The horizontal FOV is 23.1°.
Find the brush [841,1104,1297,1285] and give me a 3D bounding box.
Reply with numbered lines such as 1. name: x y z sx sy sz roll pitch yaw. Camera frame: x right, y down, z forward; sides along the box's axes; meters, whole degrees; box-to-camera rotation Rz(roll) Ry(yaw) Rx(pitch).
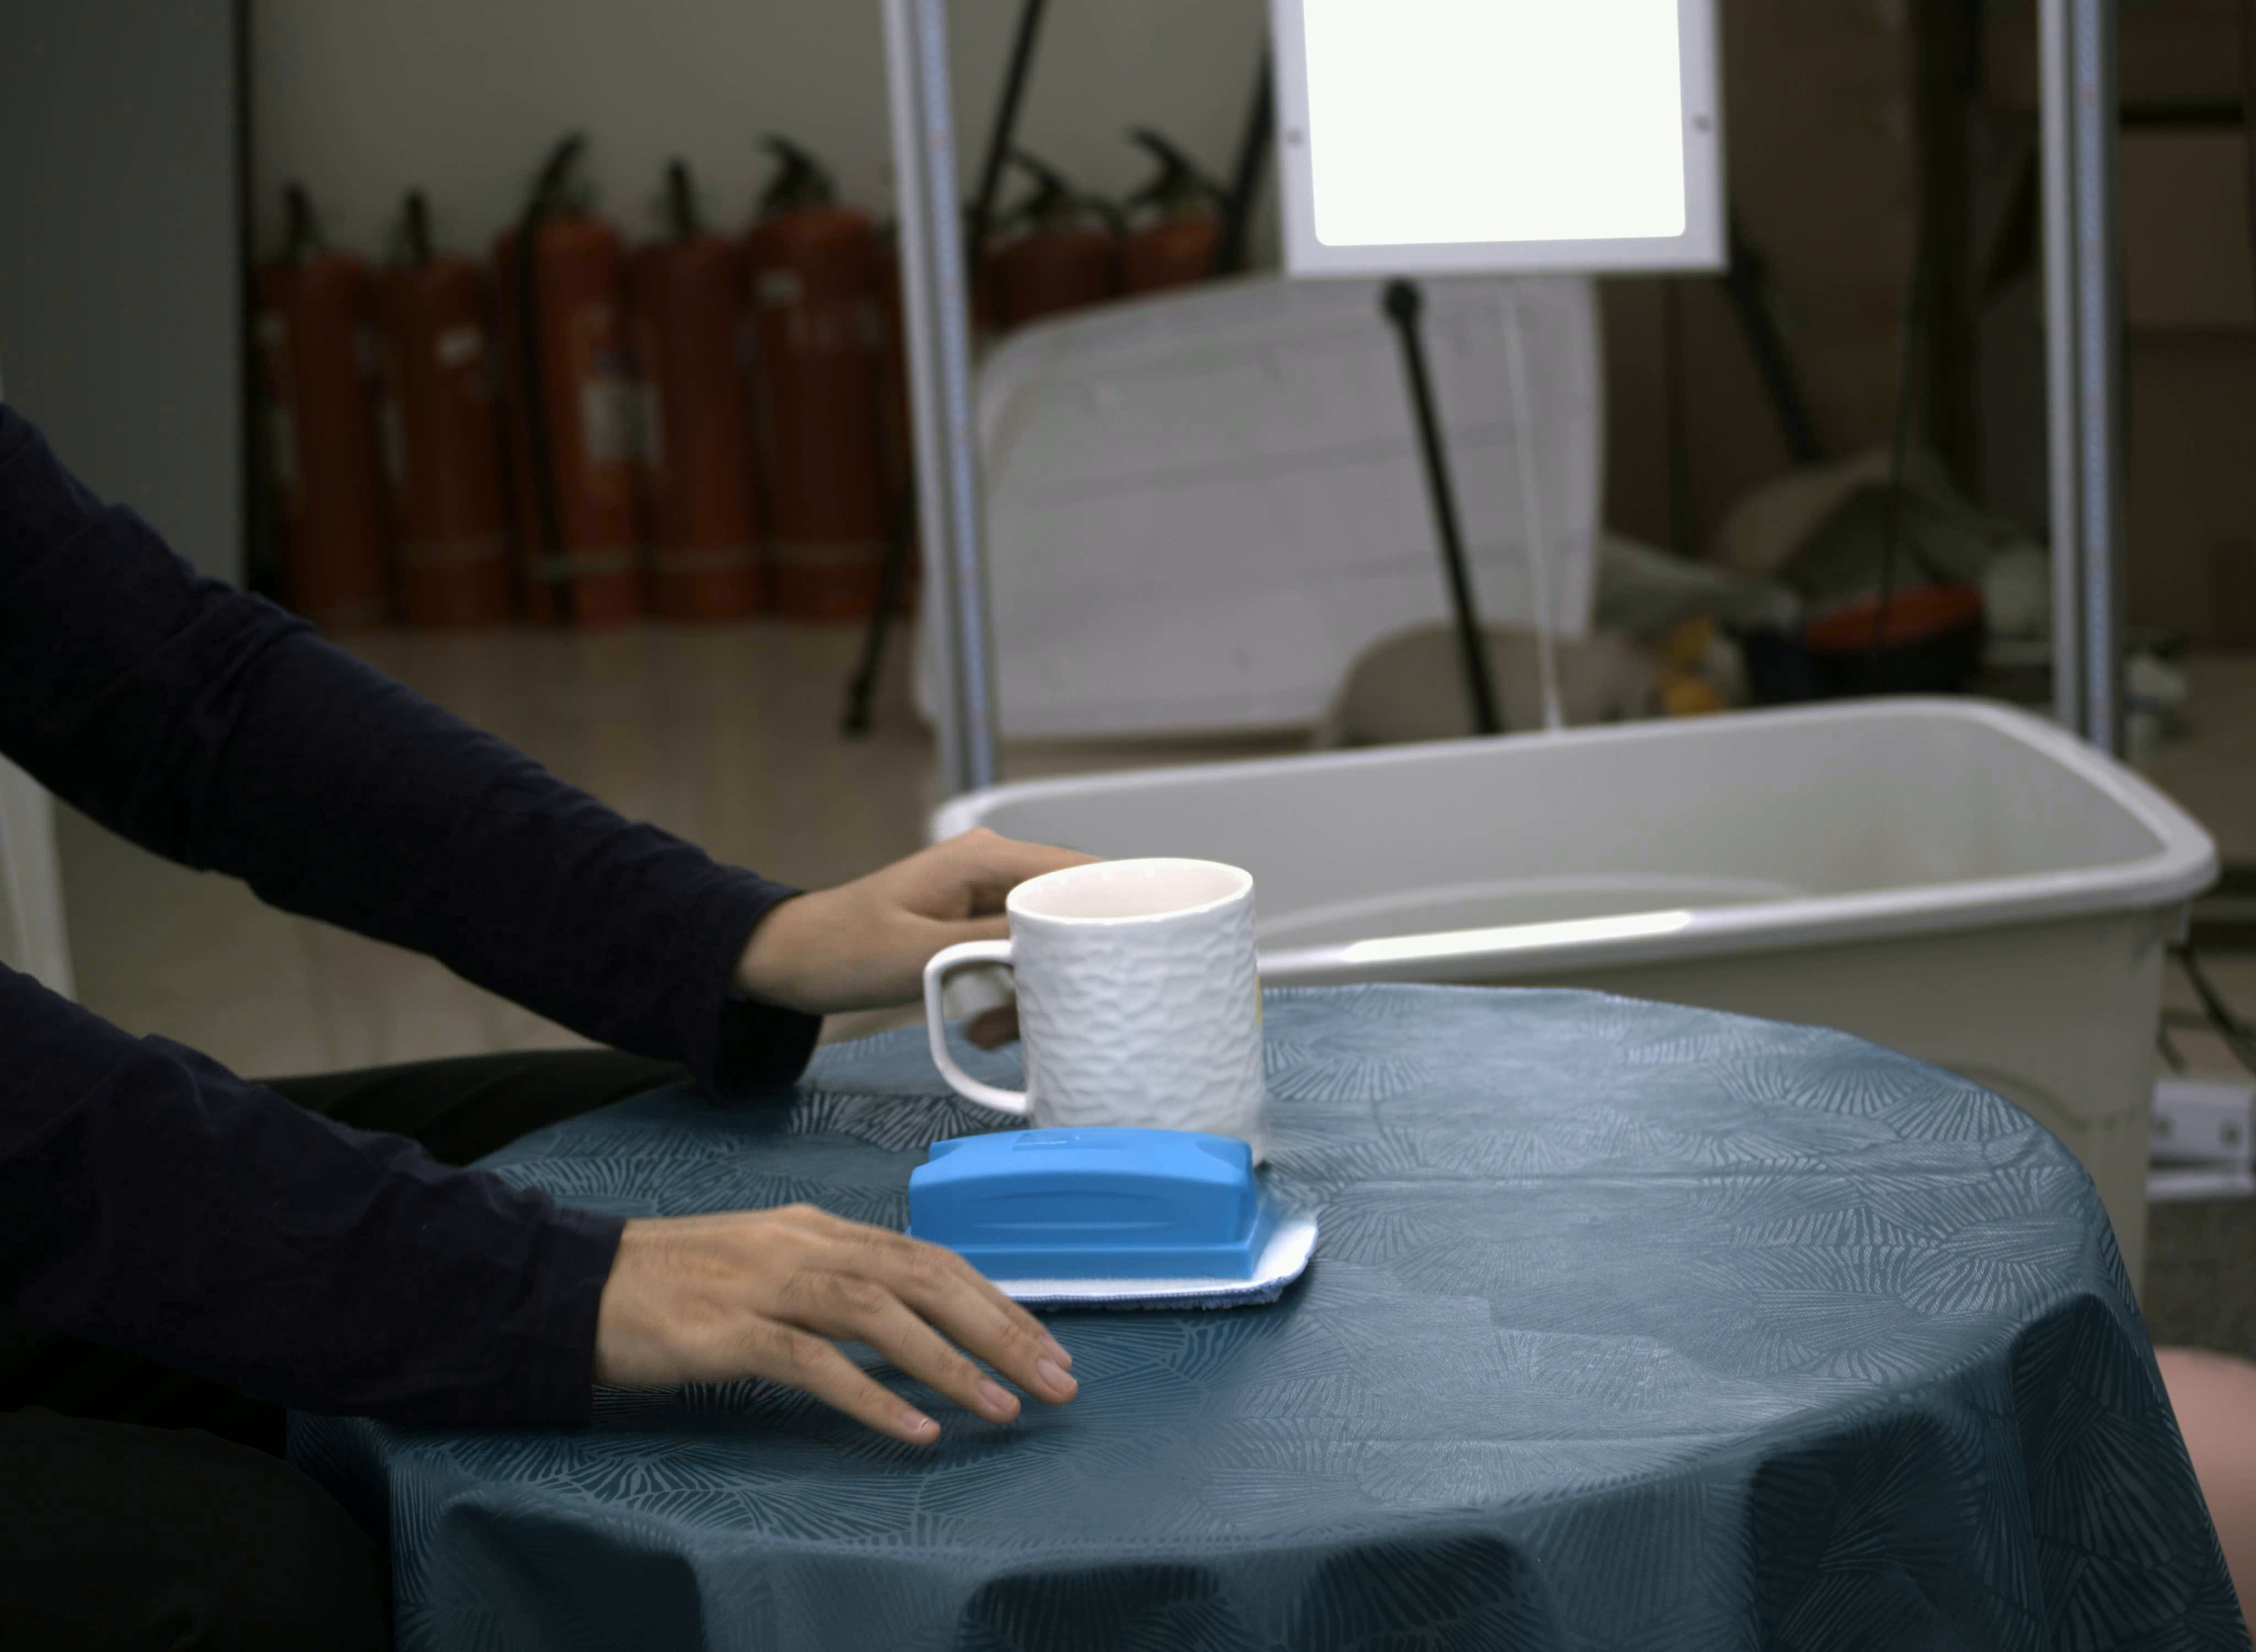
1. brush: -0.019 0.121 1.802 0.145 0.056 0.082 1 12 15

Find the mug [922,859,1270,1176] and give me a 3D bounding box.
1. mug: -0.011 0.073 1.913 0.118 0.102 0.084 -5 14 4
